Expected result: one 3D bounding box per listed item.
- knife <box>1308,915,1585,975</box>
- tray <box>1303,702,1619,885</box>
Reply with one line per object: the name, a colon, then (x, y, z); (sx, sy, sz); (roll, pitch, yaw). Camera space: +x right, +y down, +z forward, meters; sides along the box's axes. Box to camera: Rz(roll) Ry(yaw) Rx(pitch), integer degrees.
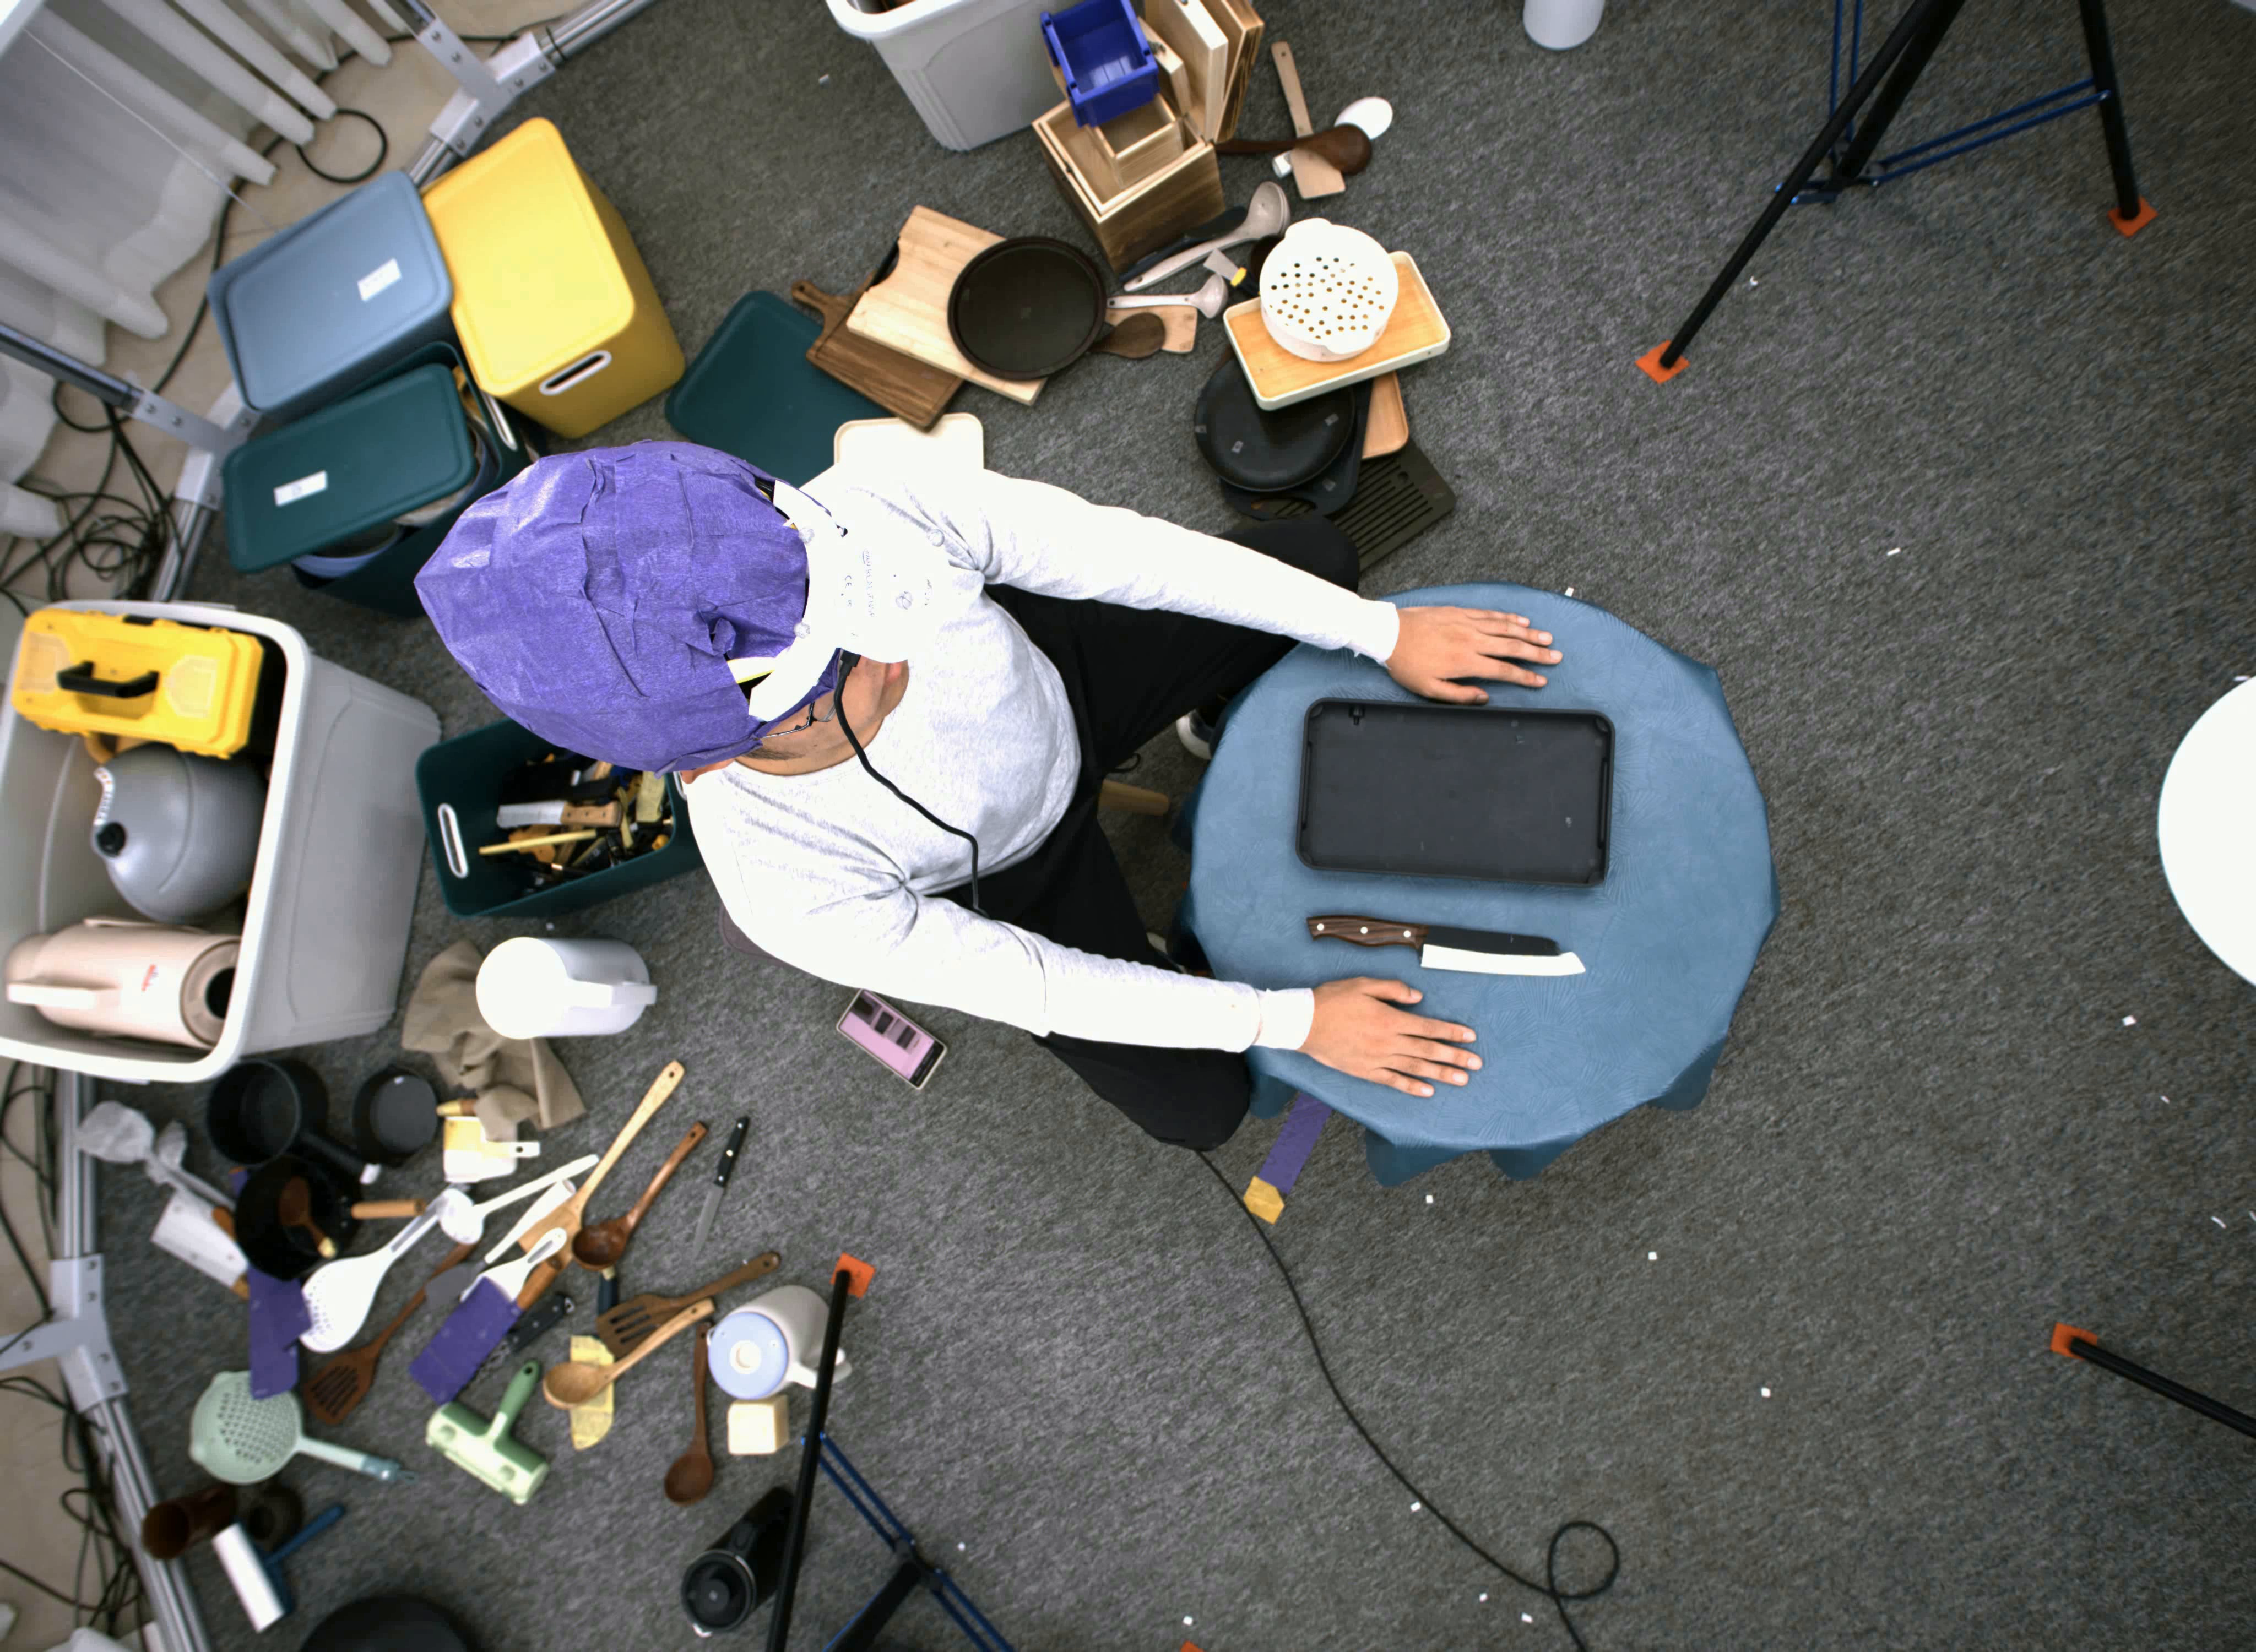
knife: (0.331, 0.122, 1.439); (0.290, 0.020, 0.050); (8, 93, 9)
tray: (0.345, -0.036, 1.434); (0.319, 0.037, 0.183); (2, 87, 11)
